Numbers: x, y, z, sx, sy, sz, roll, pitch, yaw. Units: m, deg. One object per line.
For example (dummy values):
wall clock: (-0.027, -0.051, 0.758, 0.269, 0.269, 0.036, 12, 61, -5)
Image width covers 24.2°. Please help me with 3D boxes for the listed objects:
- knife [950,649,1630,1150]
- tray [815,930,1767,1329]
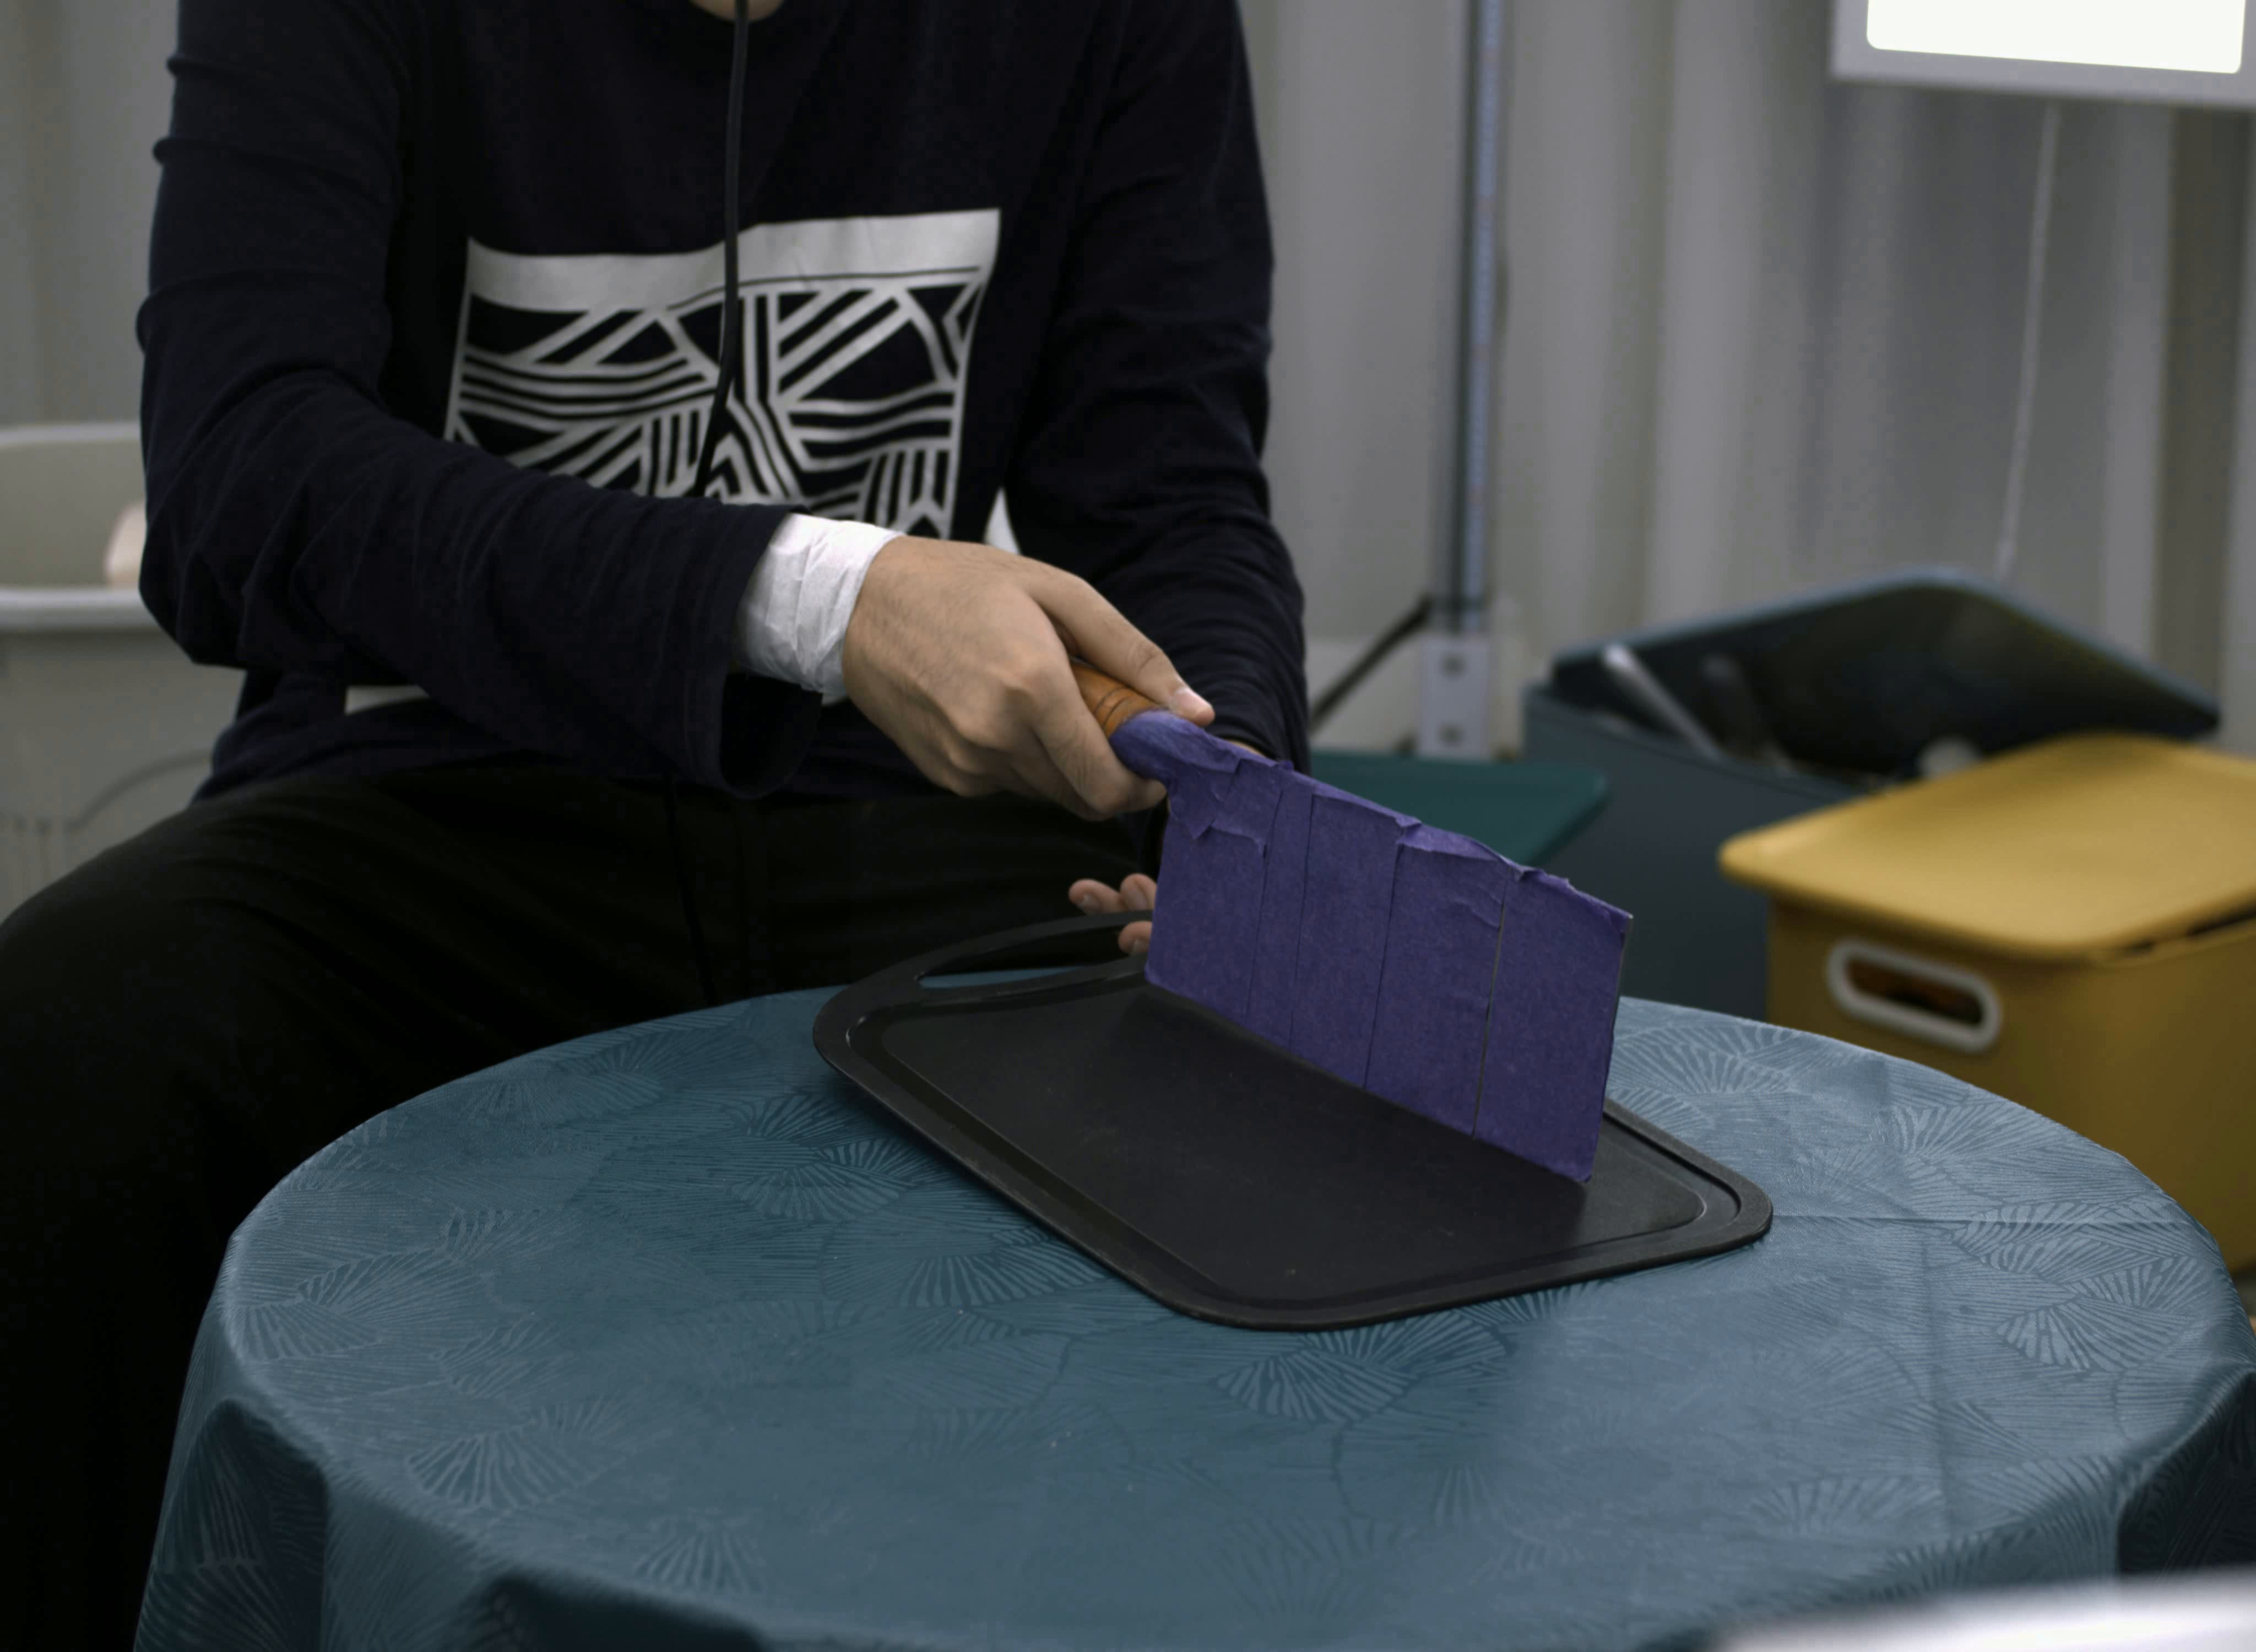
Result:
knife: (0.043, 0.023, 1.707, 0.032, 0.104, 0.311, -4, 19, -40)
tray: (0.041, 0.088, 1.671, 0.212, 0.010, 0.321, -8, 22, -29)
